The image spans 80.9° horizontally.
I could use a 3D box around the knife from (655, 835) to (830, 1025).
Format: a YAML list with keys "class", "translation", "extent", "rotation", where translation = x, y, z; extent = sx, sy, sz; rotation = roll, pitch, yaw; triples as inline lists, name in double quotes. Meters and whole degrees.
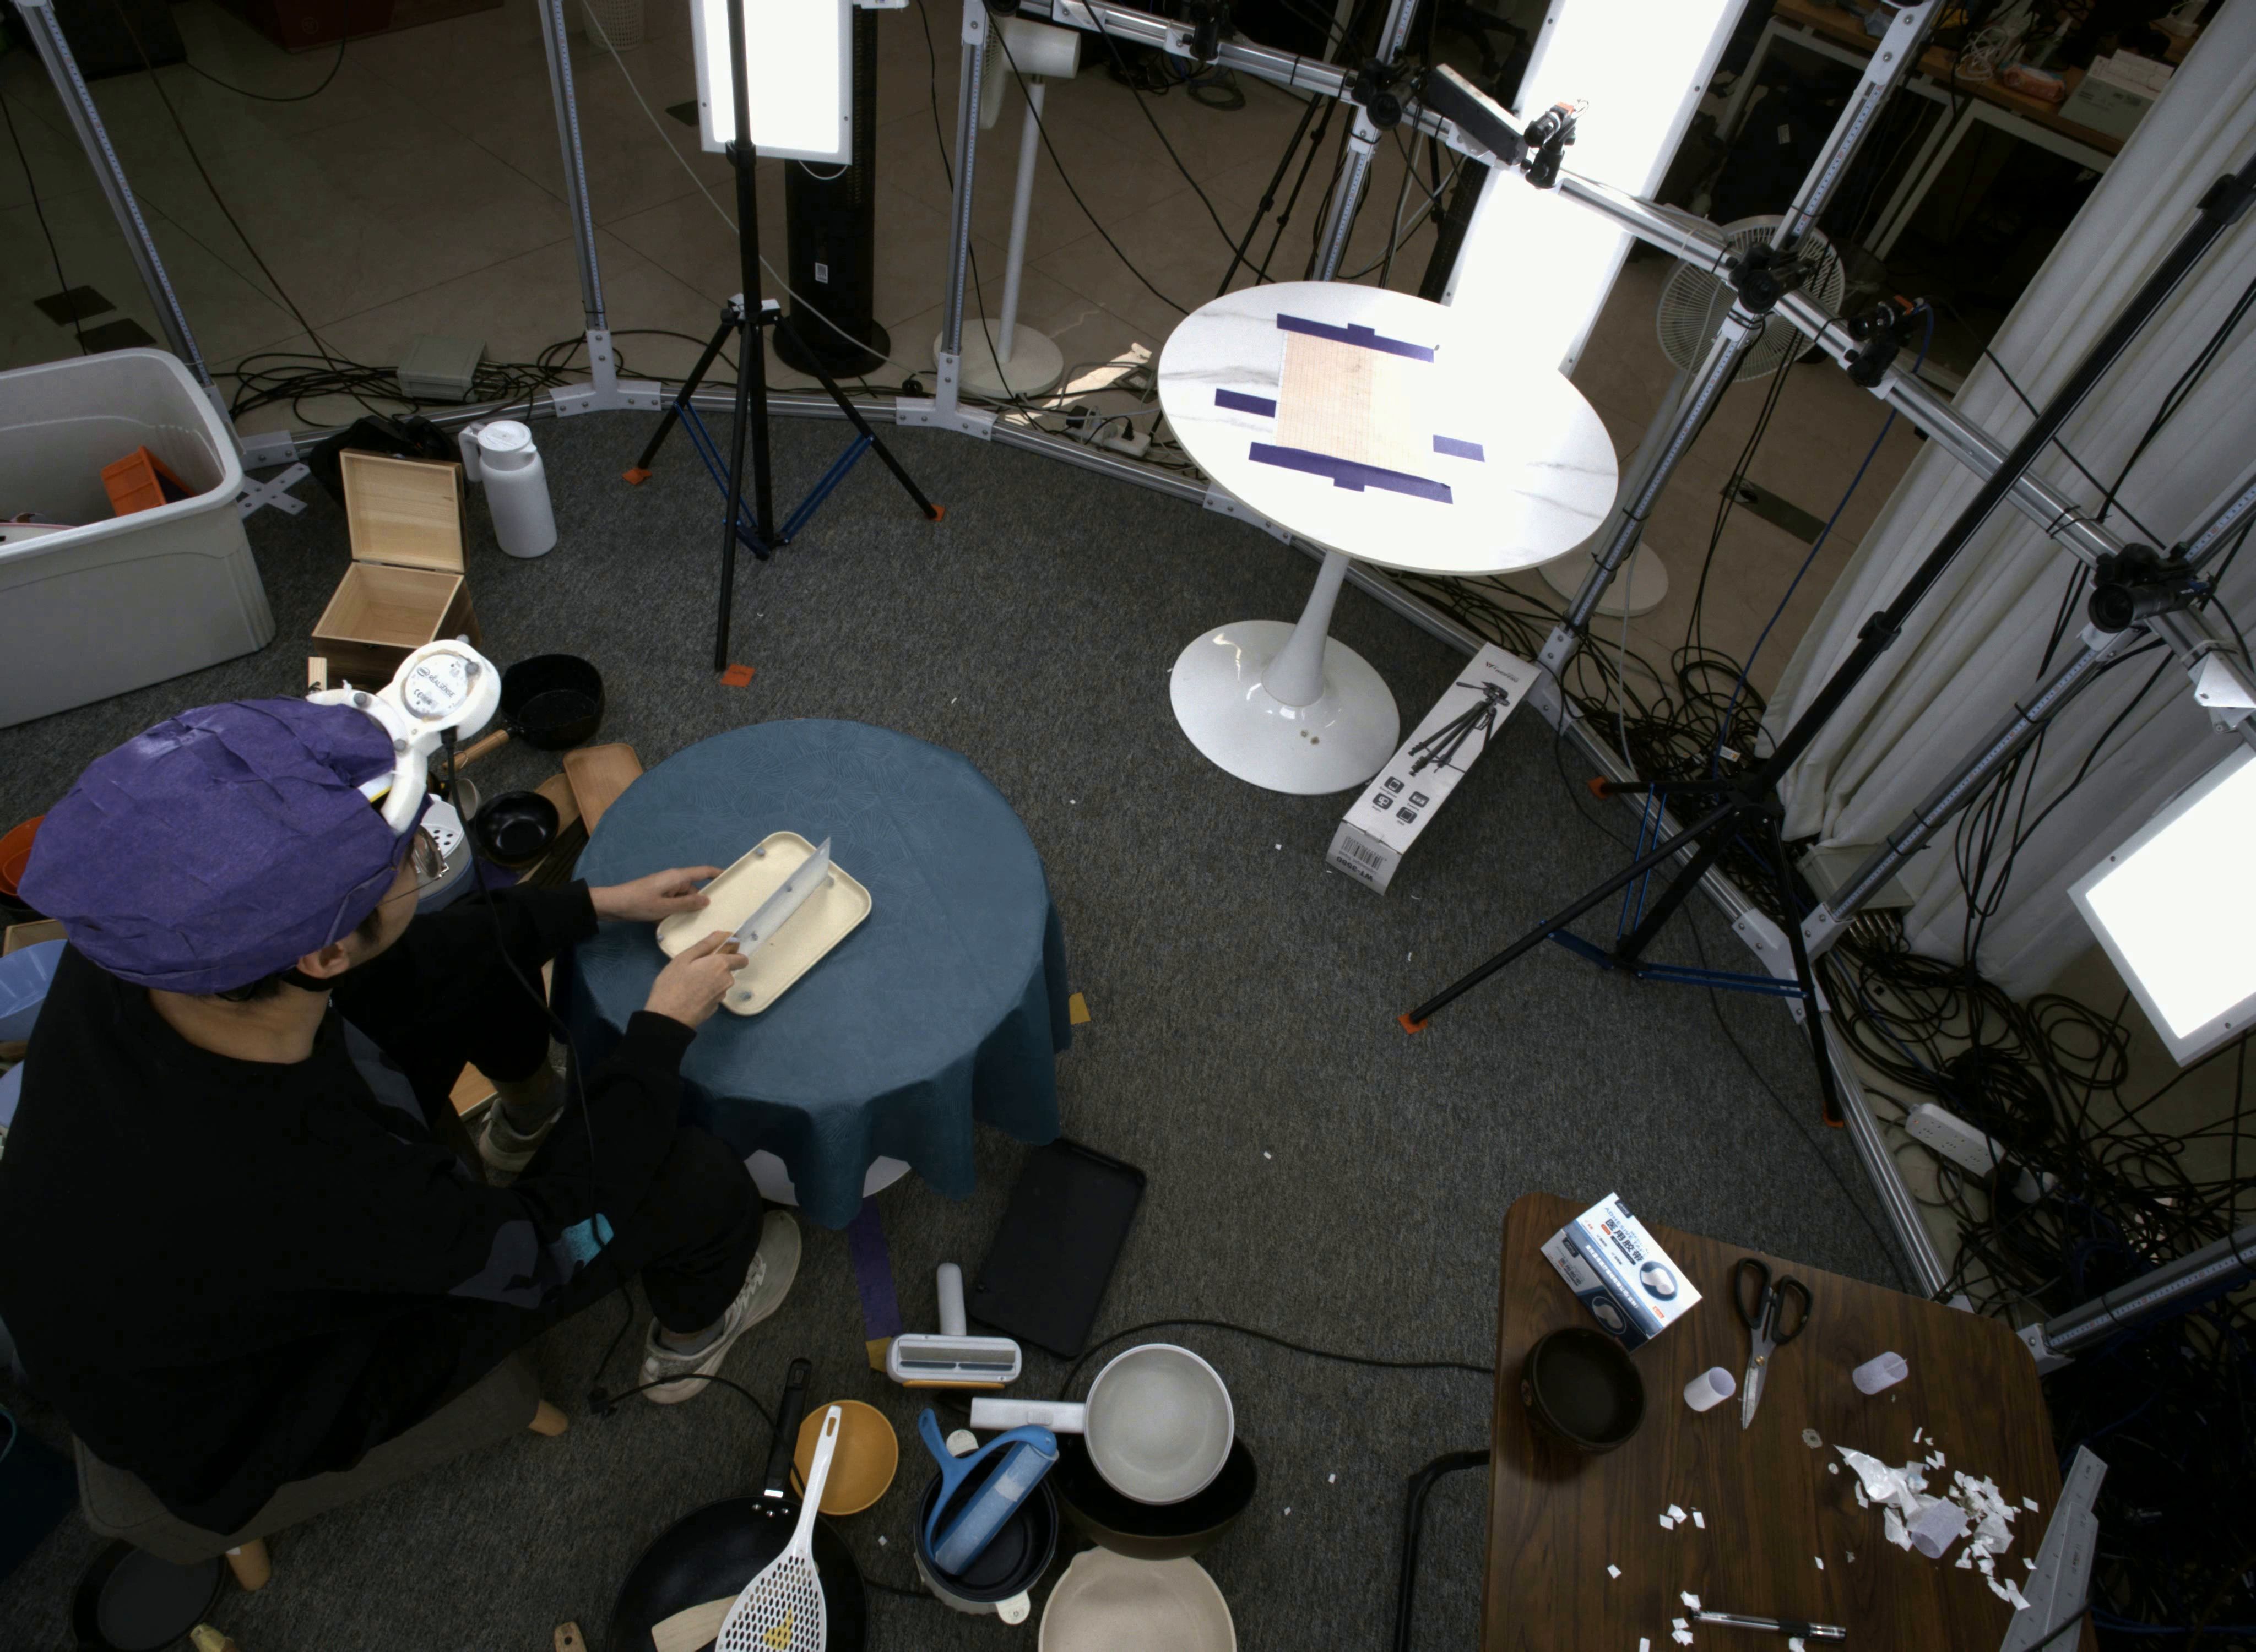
- class: "knife"
  translation: [-0.448, 0.128, 1.530]
  extent: [0.020, 0.094, 0.305]
  rotation: [31, 52, 9]

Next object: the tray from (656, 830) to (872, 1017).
- class: "tray"
  translation: [-0.446, 0.116, 1.596]
  extent: [0.169, 0.017, 0.239]
  rotation: [39, 52, 6]
